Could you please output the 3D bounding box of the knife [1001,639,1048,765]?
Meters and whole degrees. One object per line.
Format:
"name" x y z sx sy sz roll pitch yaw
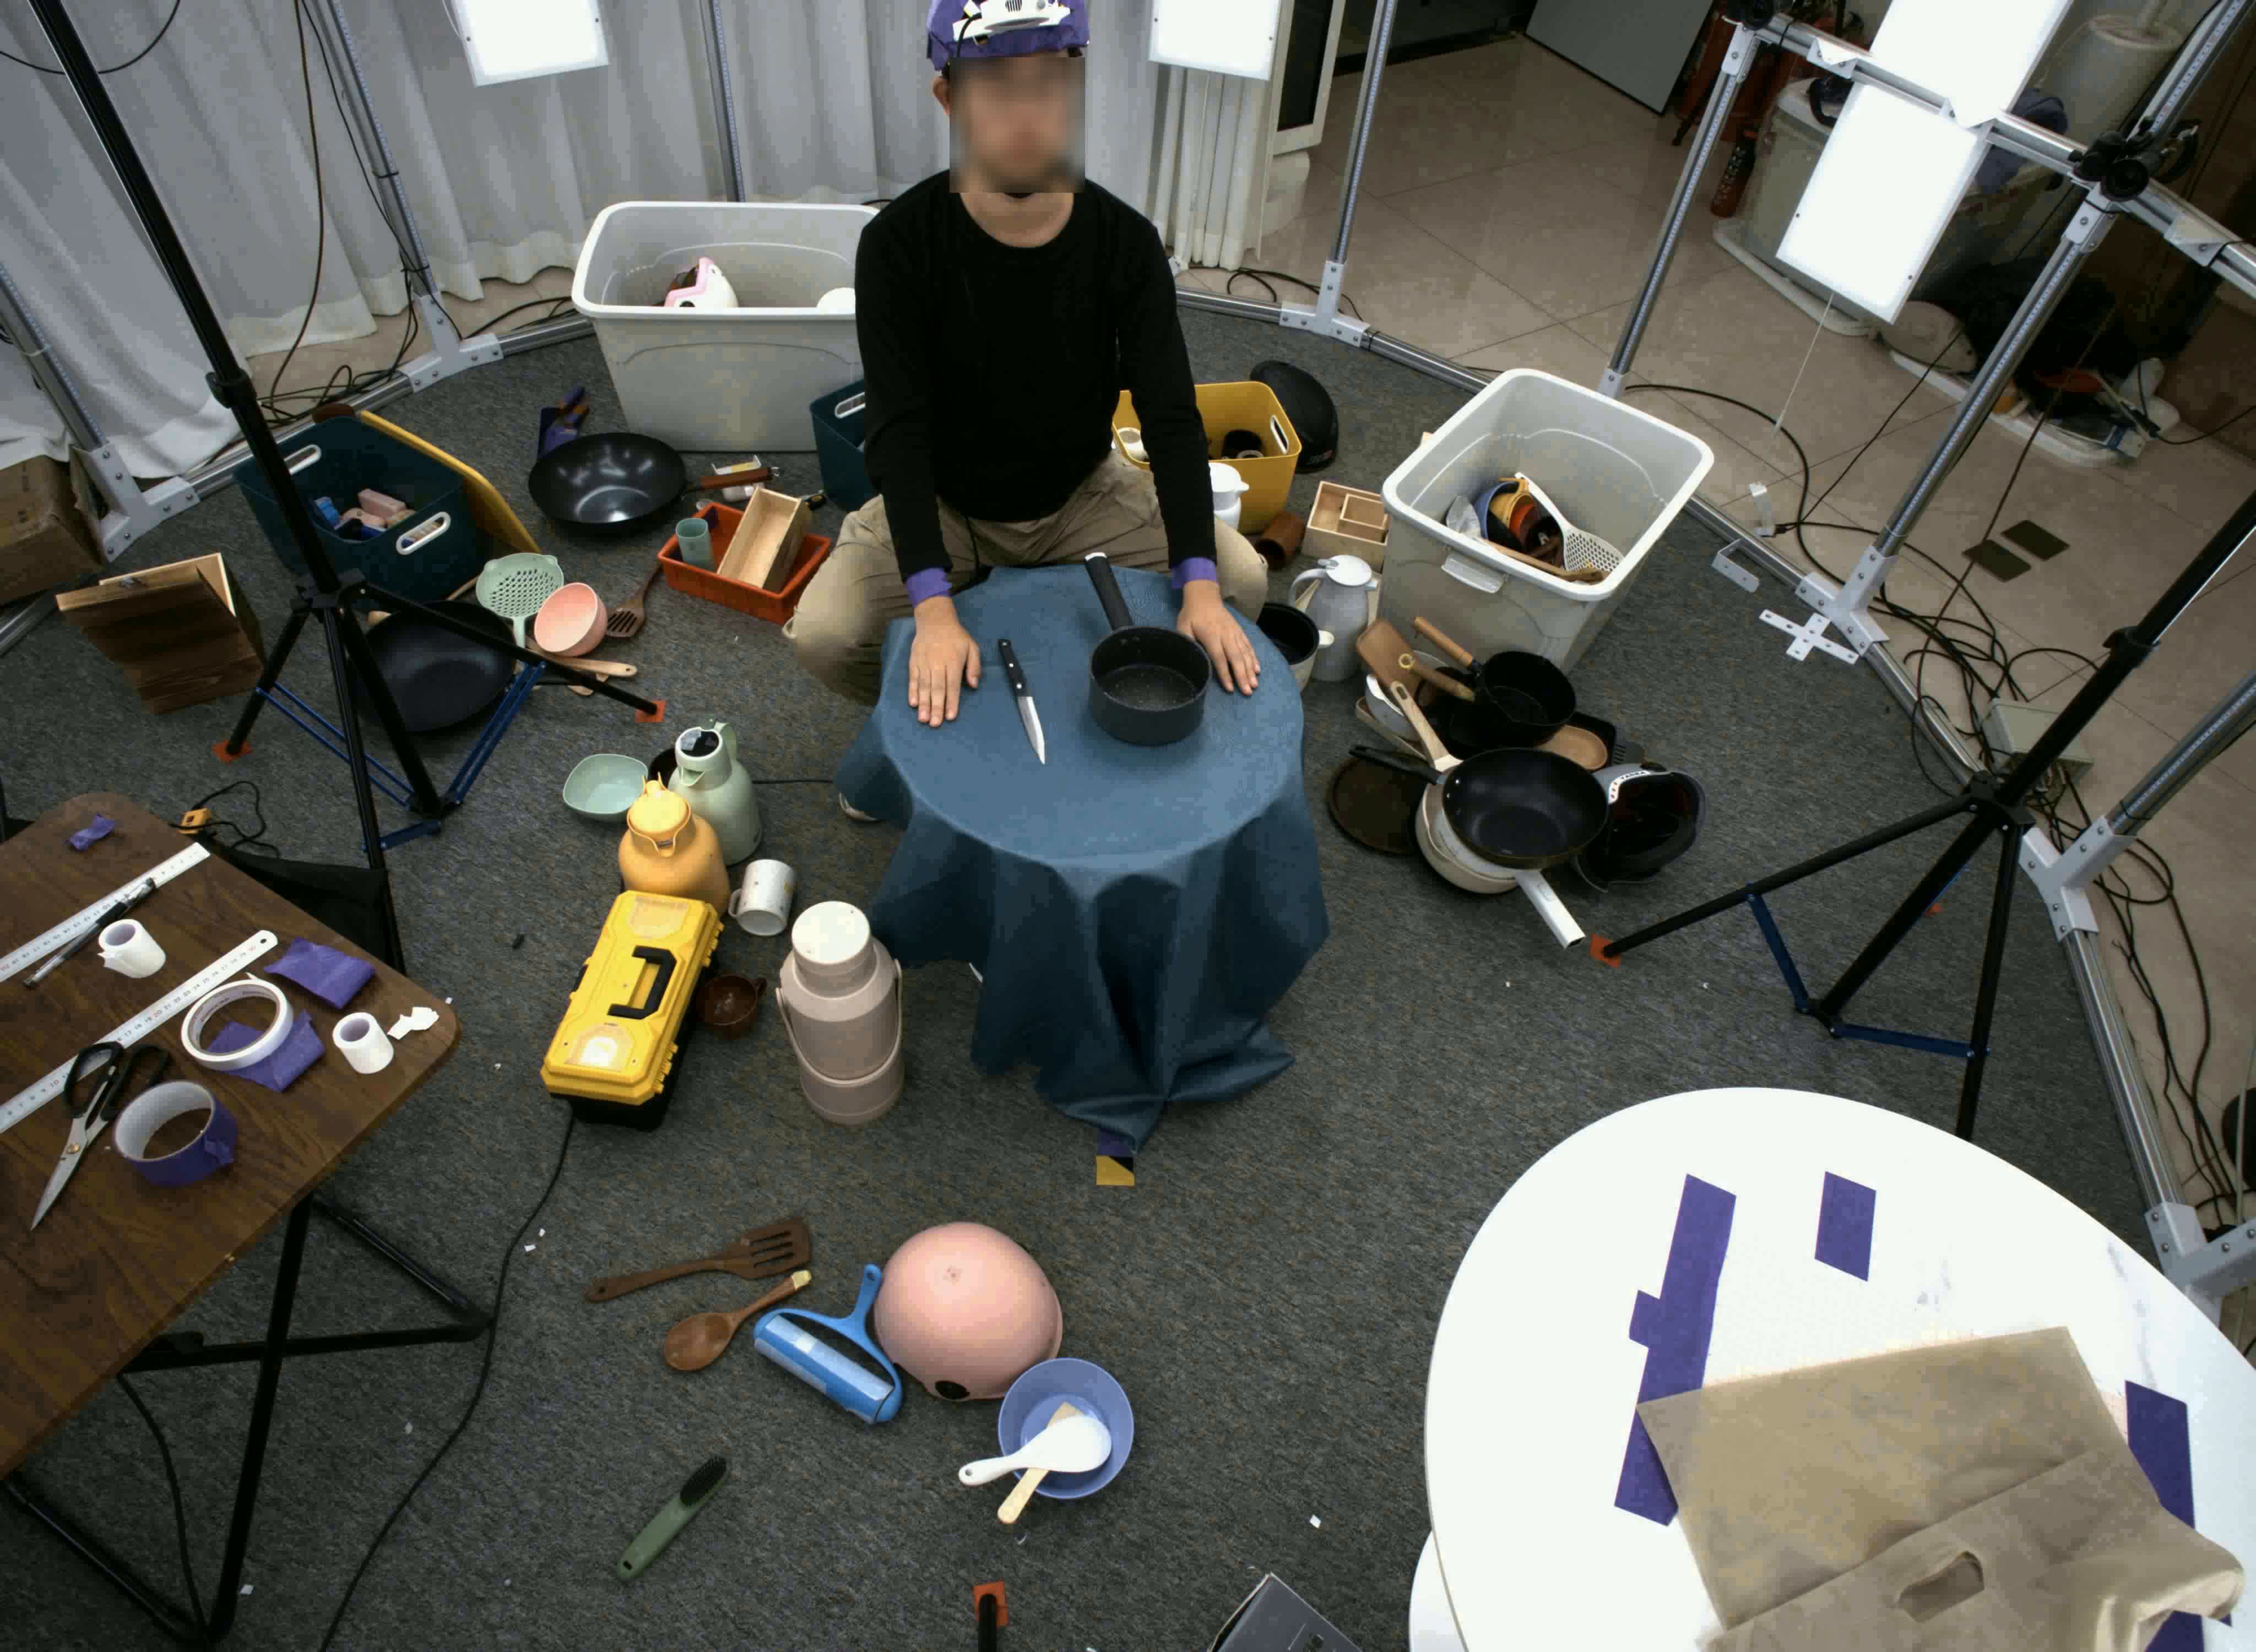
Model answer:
"knife" -0.146 -0.176 1.806 0.024 0.016 0.244 -9 53 -15

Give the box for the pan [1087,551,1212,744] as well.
"pan" 0.006 -0.258 1.839 0.172 0.084 0.337 -10 51 -12
